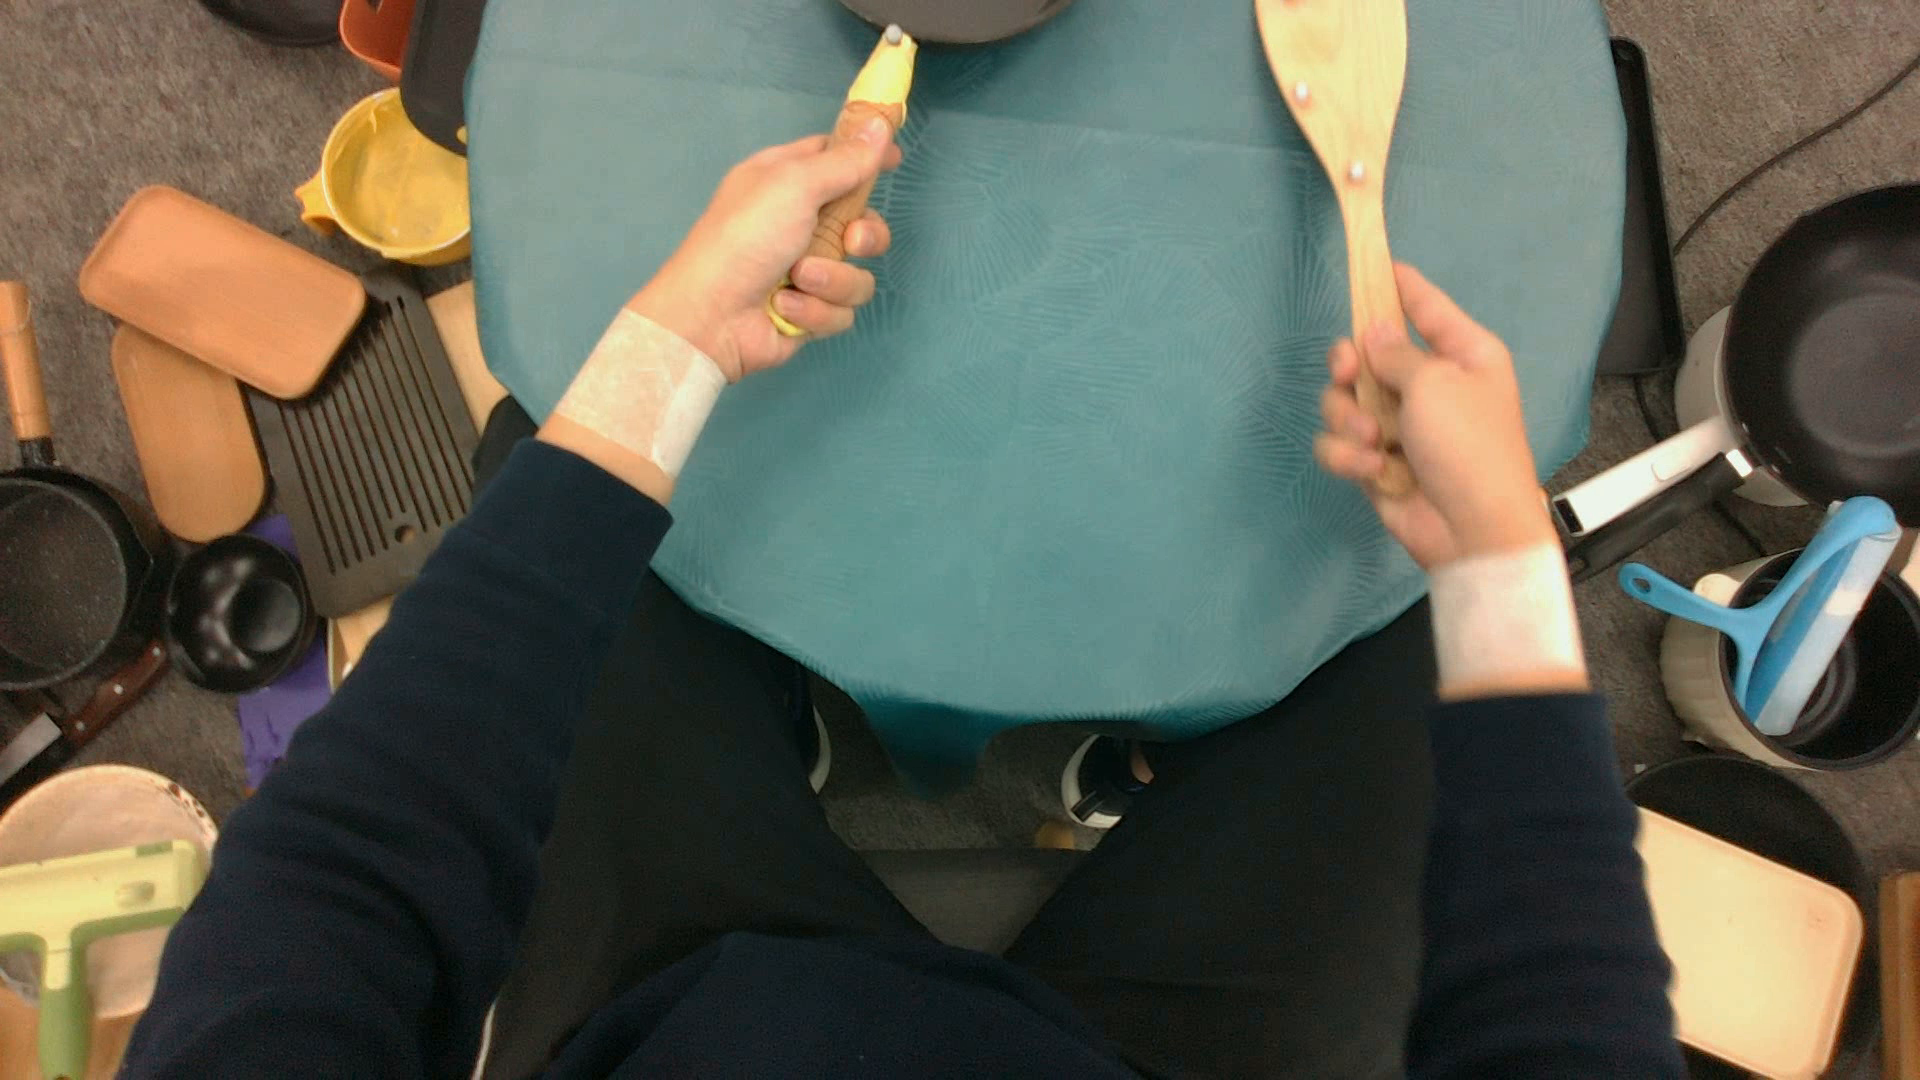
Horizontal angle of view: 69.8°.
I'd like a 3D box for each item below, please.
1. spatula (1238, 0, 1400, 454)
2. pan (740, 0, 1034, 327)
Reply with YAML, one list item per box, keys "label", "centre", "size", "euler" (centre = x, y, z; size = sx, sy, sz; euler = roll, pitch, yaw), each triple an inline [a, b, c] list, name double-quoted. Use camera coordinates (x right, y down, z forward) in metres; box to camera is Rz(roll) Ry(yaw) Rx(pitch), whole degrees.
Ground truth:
- label: "spatula"
  centre: [0.181, -0.190, 0.673]
  size: [0.080, 0.016, 0.328]
  euler: [0, 66, -1]
- label: "pan"
  centre: [-0.045, -0.239, 0.659]
  size: [0.169, 0.049, 0.325]
  euler: [18, 71, -1]
